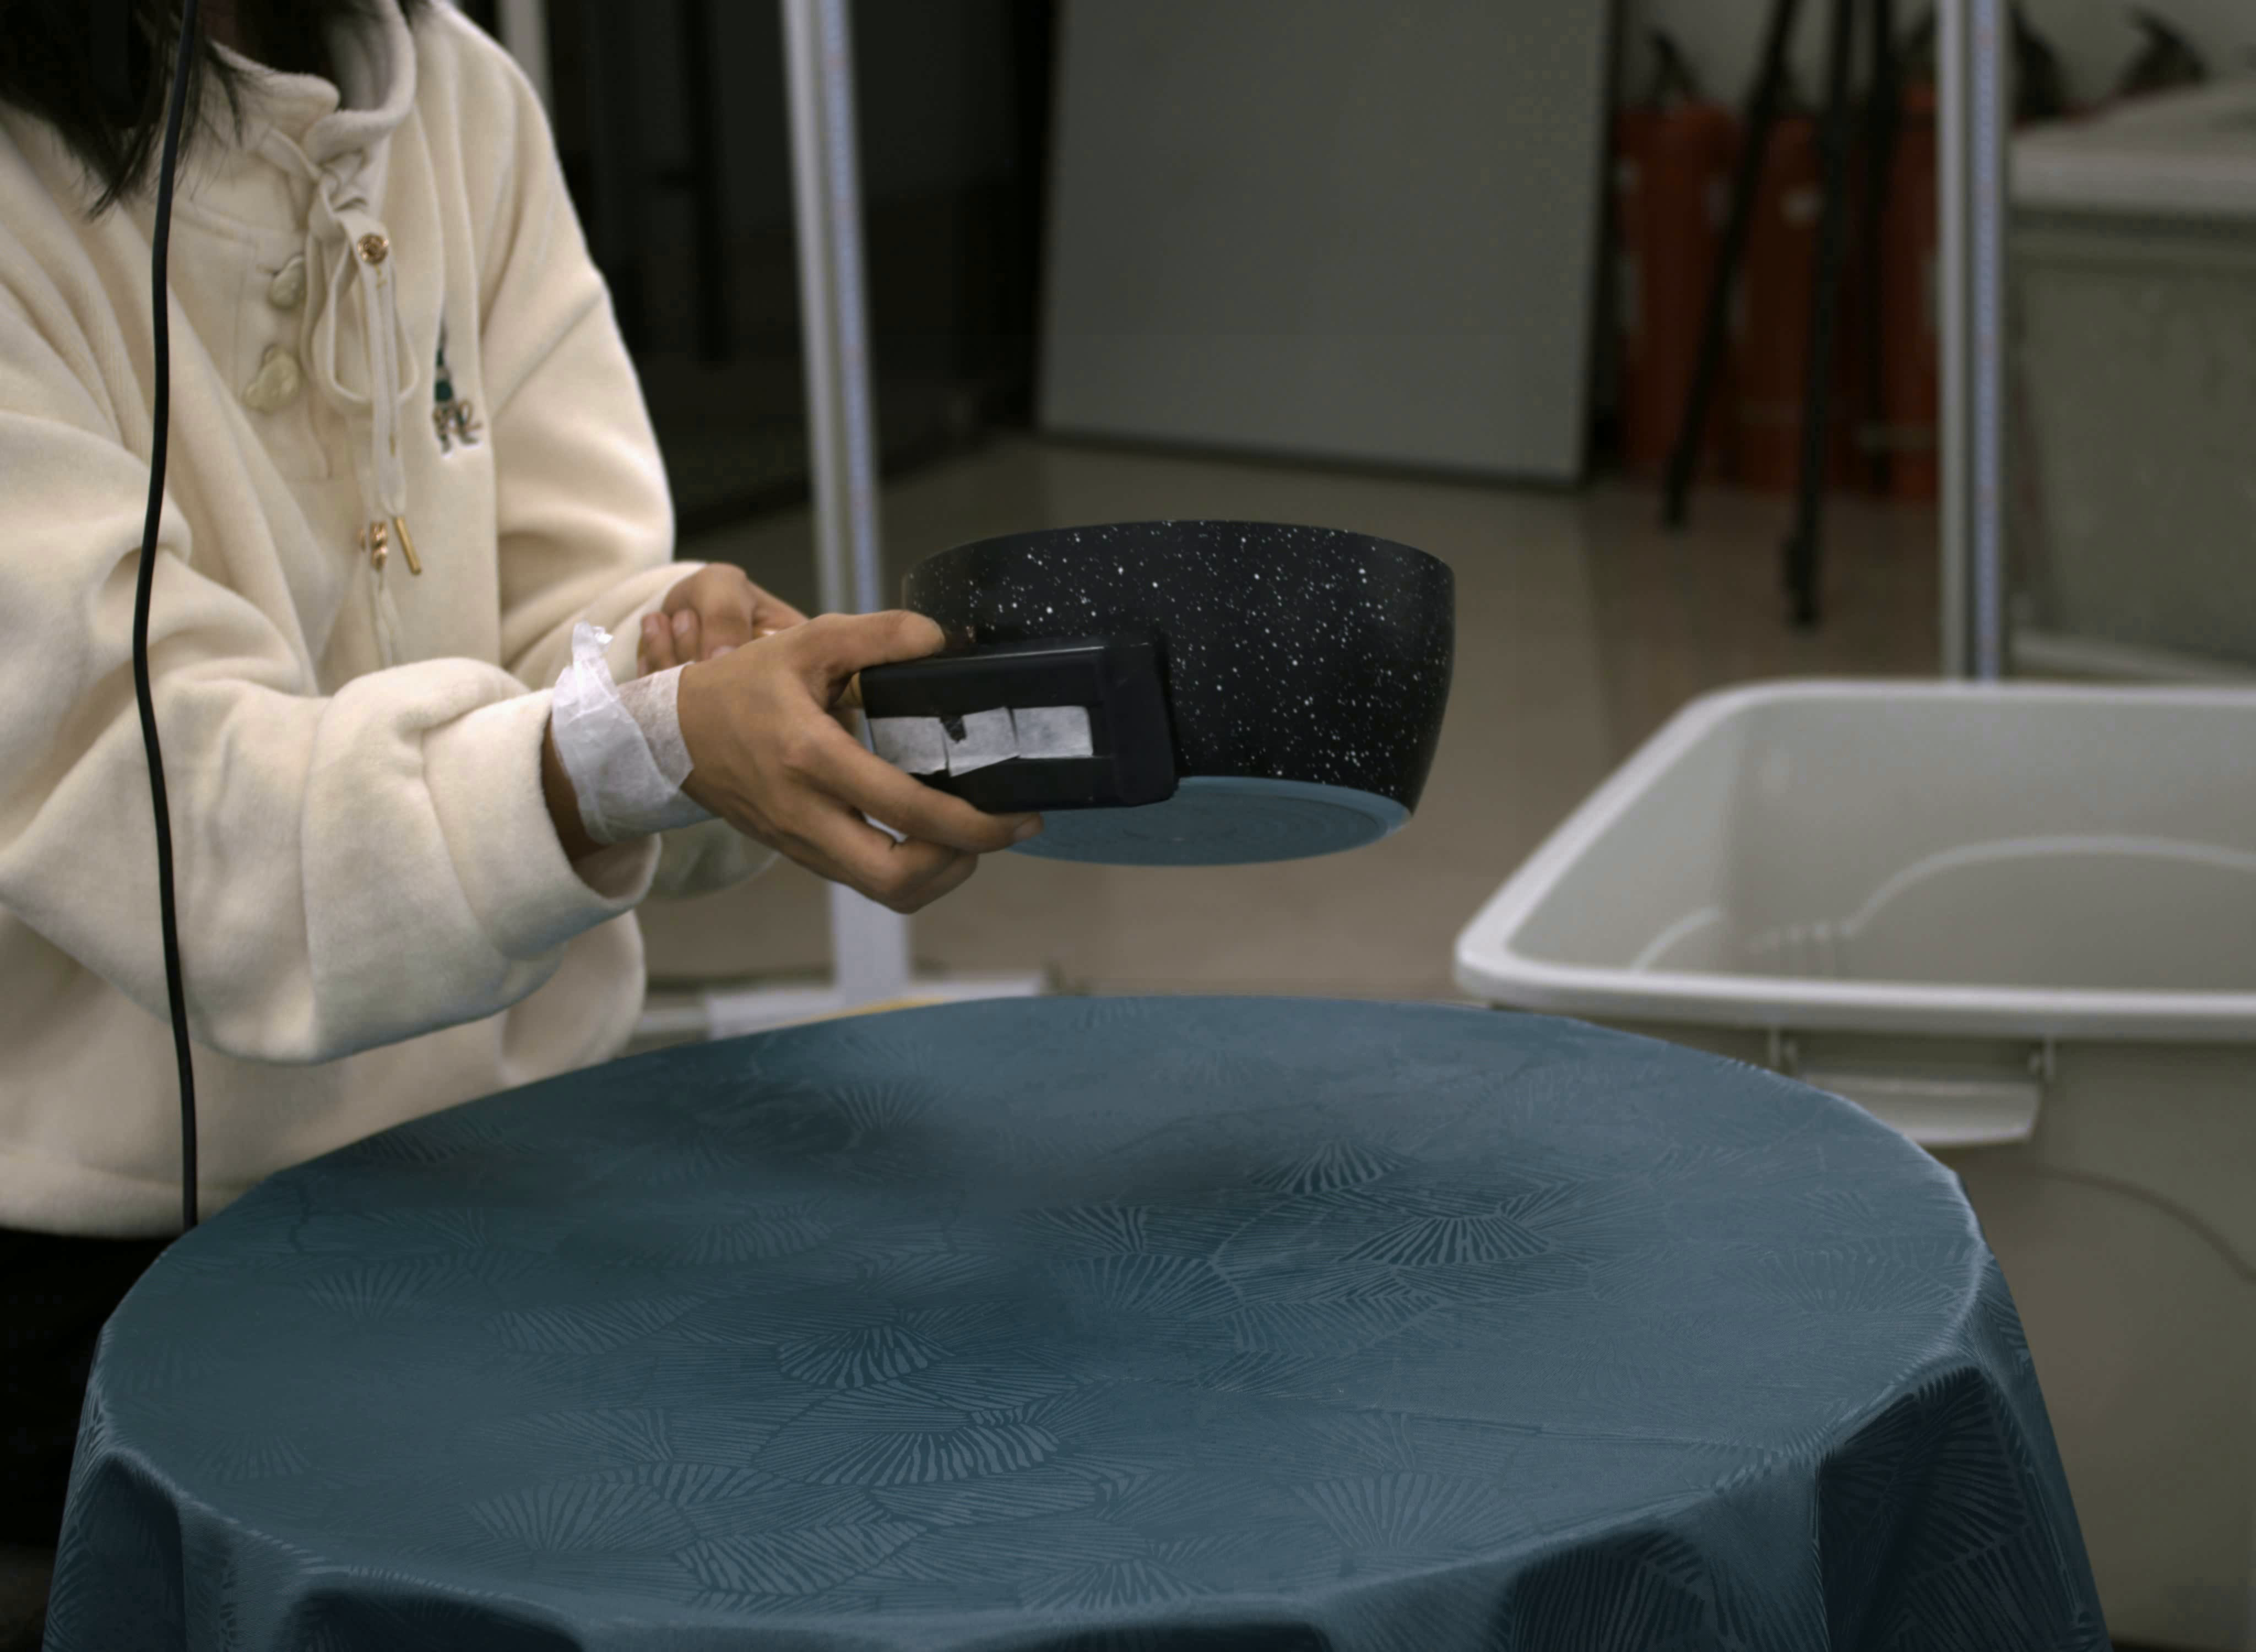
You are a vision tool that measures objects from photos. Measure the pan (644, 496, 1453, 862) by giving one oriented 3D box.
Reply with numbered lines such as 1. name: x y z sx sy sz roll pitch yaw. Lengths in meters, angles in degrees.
1. pan: -0.044 -0.043 1.824 0.345 0.109 0.203 -9 -14 41

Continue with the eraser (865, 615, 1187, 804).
1. eraser: -0.032 -0.036 1.674 0.030 0.054 0.127 -15 8 -37
